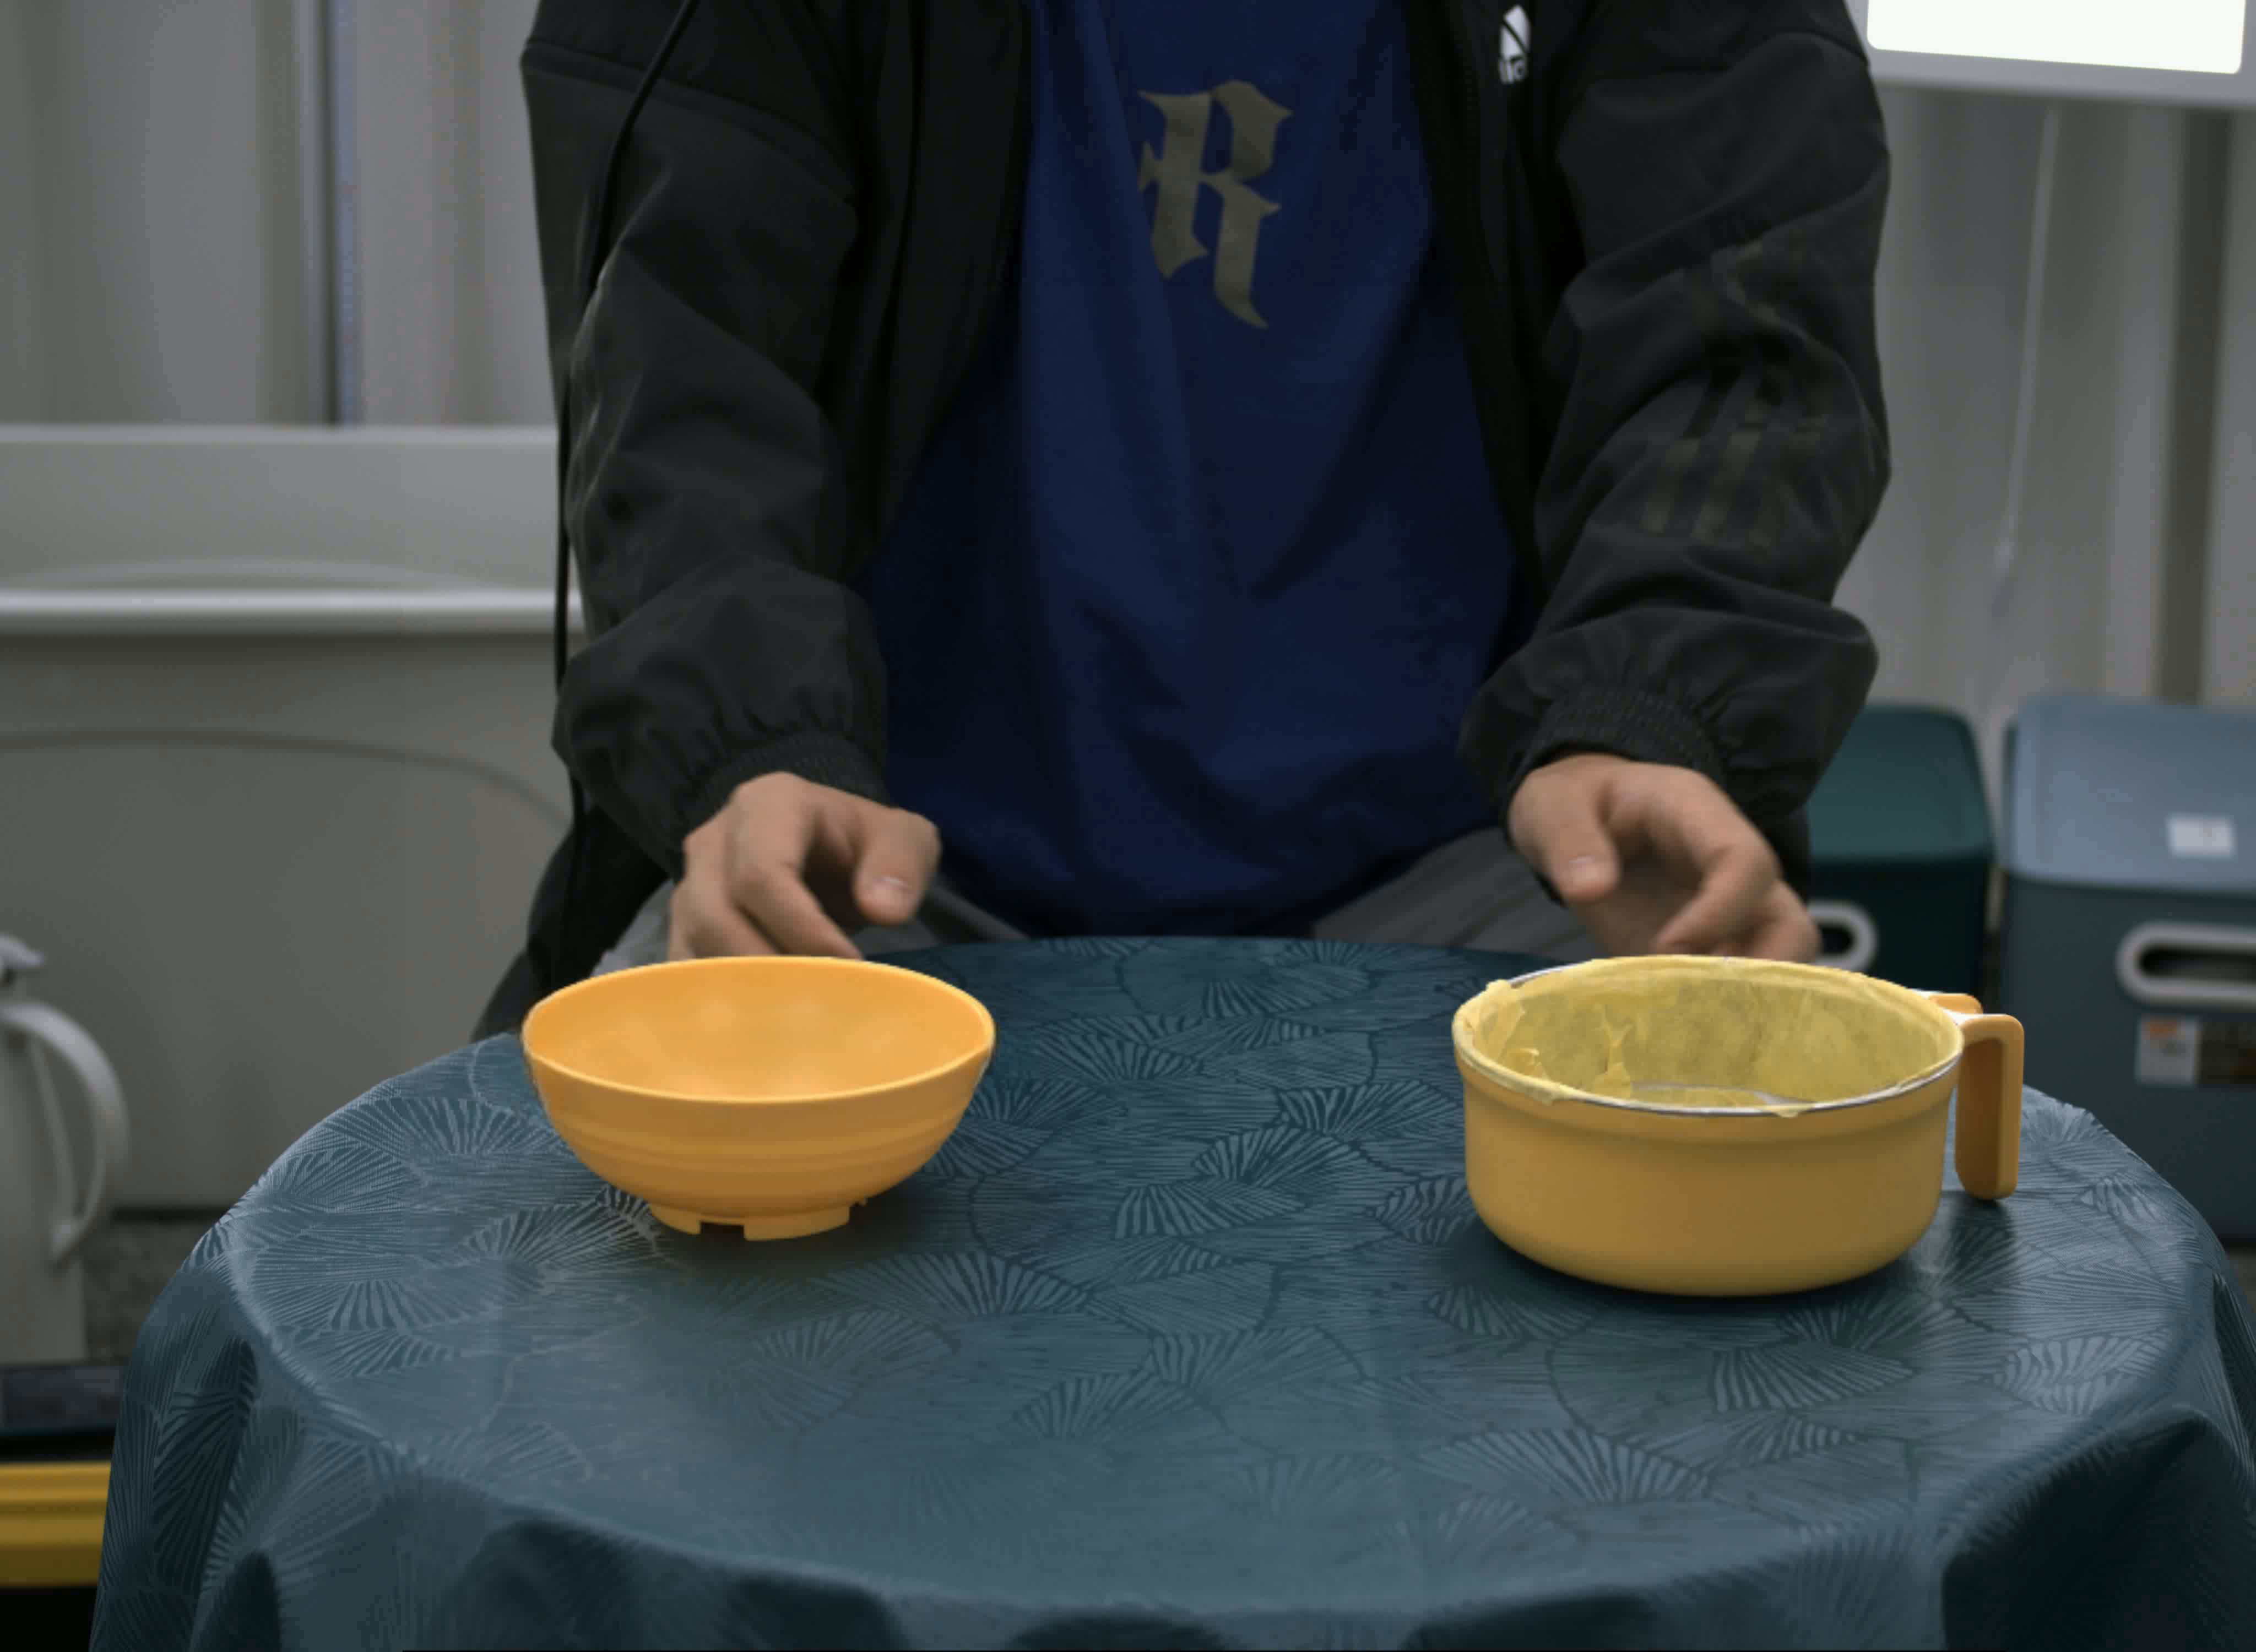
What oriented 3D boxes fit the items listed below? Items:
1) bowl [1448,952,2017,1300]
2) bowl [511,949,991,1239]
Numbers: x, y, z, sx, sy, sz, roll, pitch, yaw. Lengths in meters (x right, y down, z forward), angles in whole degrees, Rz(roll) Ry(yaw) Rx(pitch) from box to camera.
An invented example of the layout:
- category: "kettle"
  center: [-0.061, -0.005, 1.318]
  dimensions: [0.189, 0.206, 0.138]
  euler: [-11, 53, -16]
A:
- category: "bowl"
  center: [0.185, 0.090, 1.580]
  dimensions: [0.180, 0.075, 0.151]
  euler: [-9, 15, -26]
- category: "bowl"
  center: [-0.115, 0.087, 1.600]
  dimensions: [0.145, 0.060, 0.144]
  euler: [3, 16, 0]
